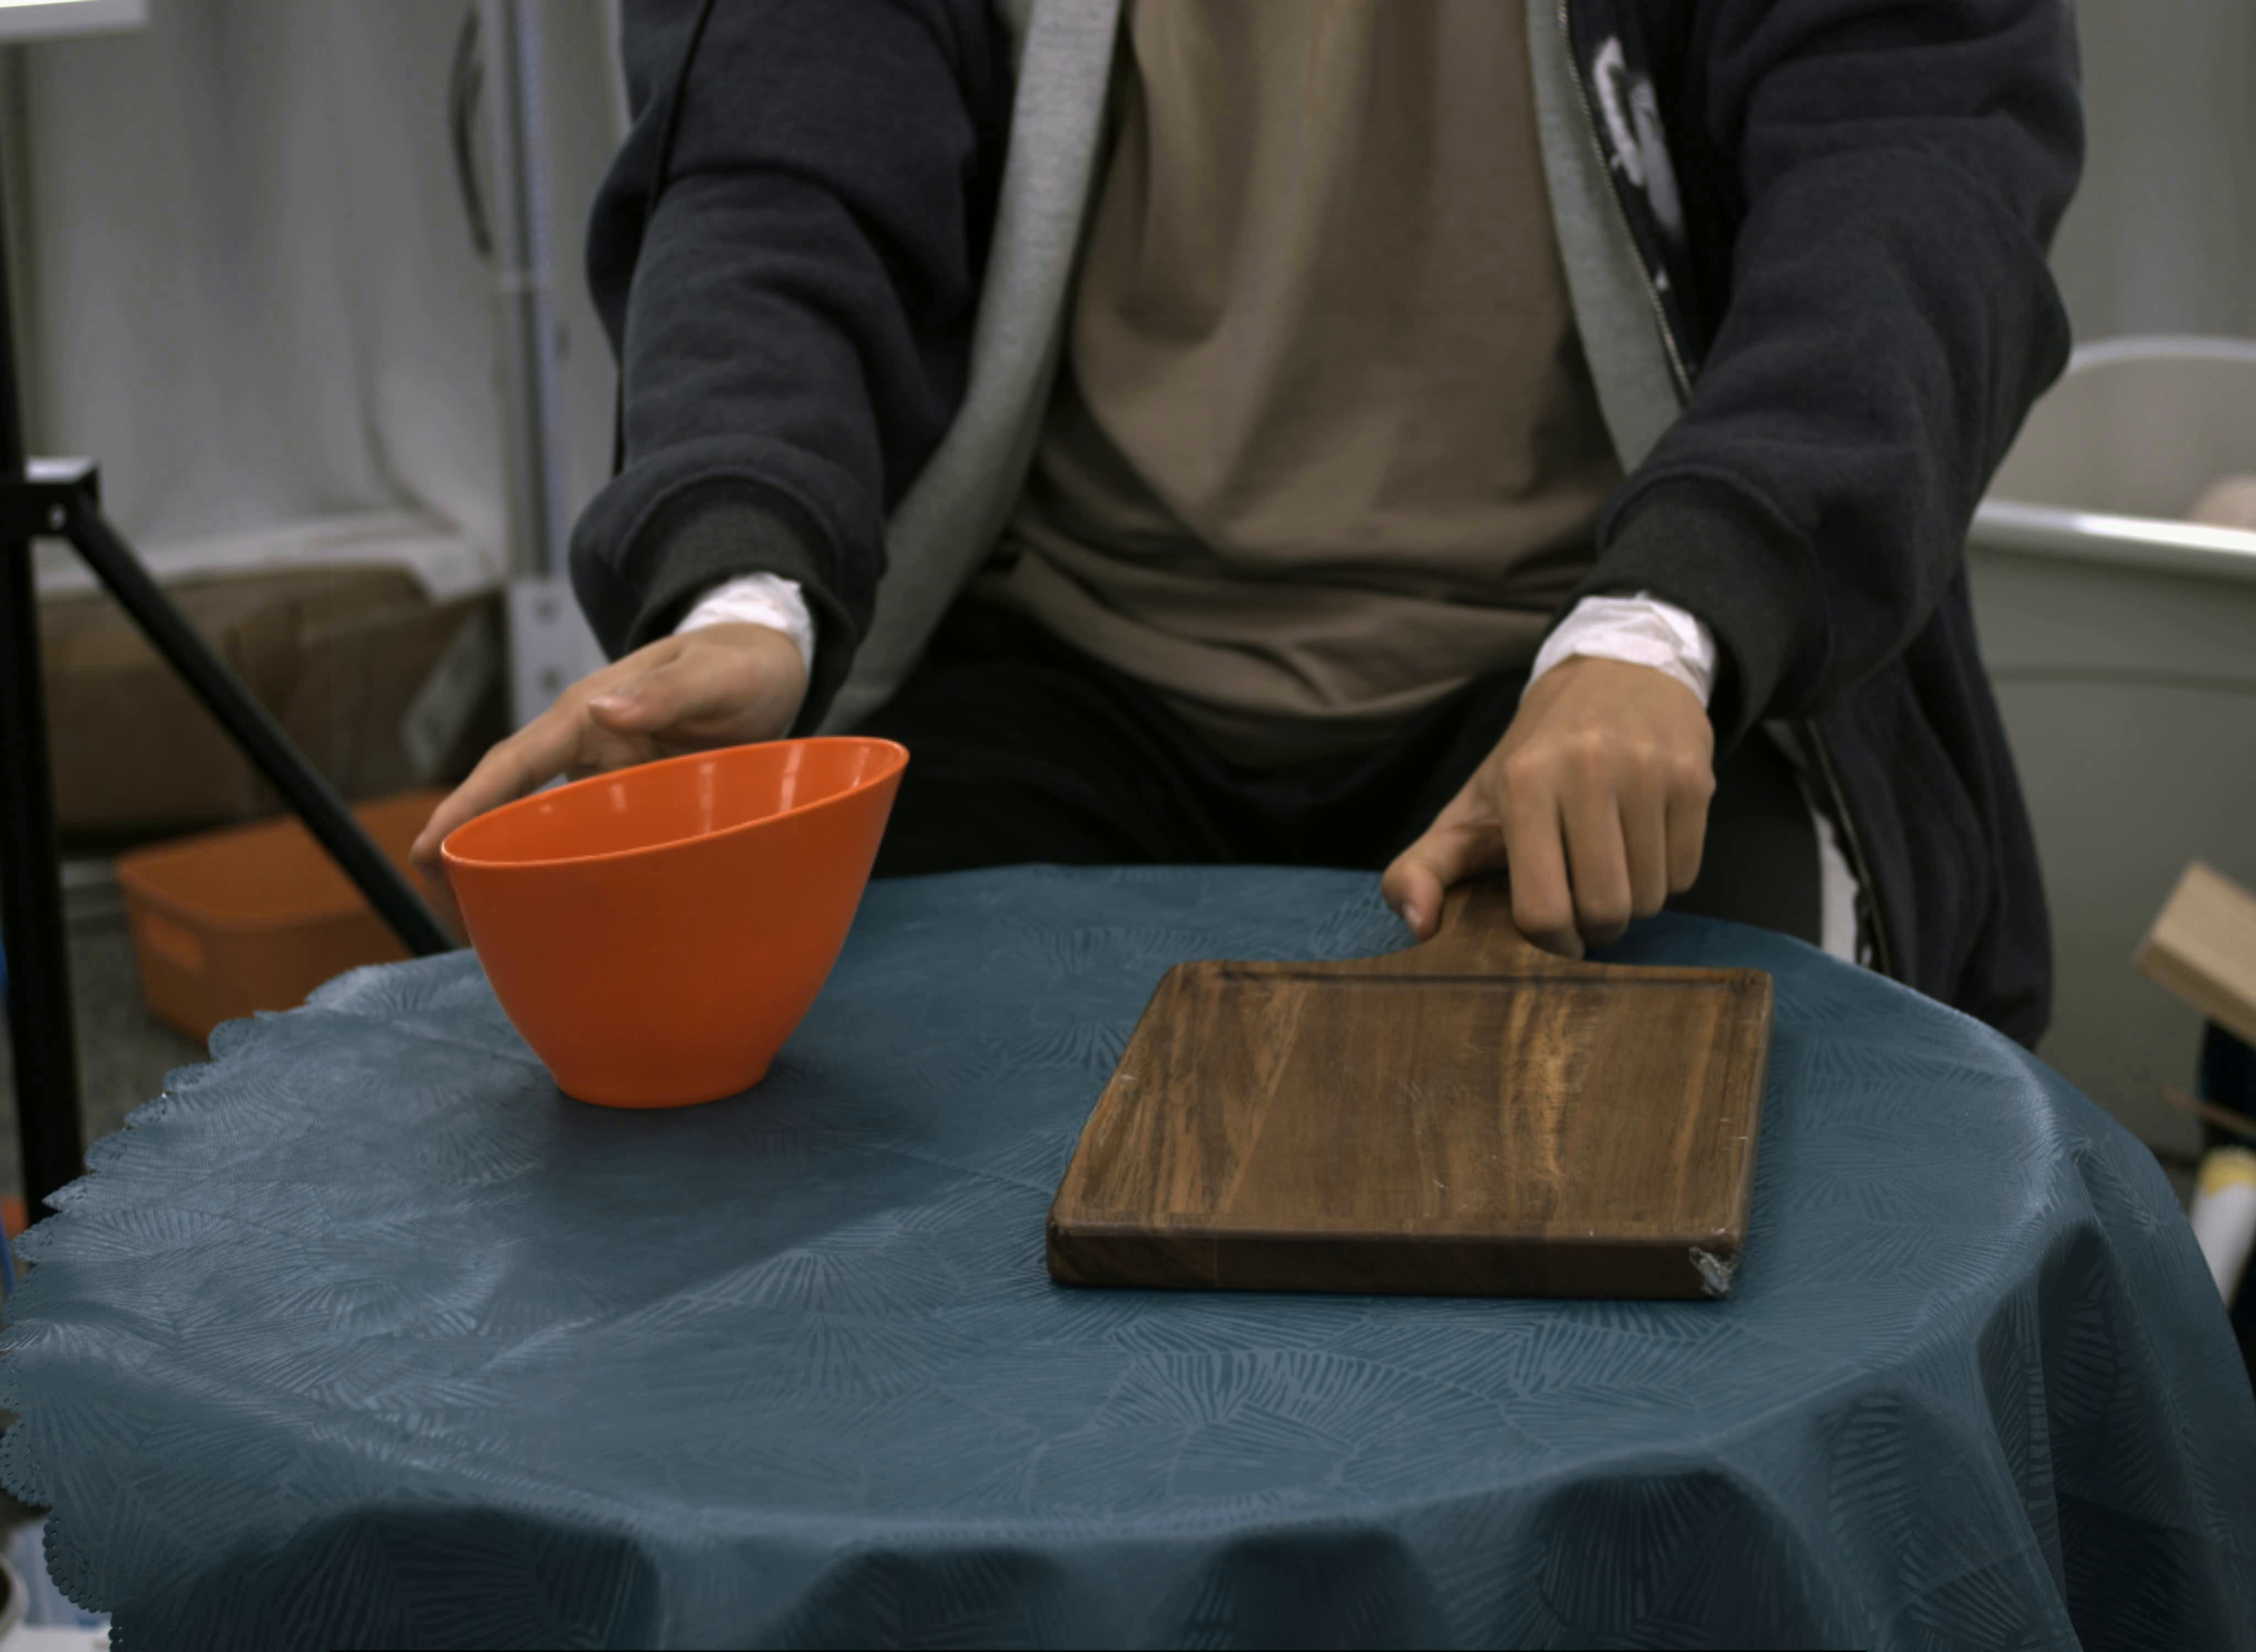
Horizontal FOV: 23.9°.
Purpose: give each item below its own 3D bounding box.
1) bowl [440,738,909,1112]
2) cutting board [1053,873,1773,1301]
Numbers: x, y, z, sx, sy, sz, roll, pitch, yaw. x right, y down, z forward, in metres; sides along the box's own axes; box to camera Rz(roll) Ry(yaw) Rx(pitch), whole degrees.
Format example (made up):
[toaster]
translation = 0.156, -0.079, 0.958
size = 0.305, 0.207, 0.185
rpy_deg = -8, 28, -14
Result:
[bowl]
translation = -0.140, 0.032, 1.668
size = 0.147, 0.104, 0.149
rpy_deg = -3, 16, -1
[cutting board]
translation = 0.098, 0.074, 1.628
size = 0.202, 0.023, 0.351
rpy_deg = 0, 16, 9
